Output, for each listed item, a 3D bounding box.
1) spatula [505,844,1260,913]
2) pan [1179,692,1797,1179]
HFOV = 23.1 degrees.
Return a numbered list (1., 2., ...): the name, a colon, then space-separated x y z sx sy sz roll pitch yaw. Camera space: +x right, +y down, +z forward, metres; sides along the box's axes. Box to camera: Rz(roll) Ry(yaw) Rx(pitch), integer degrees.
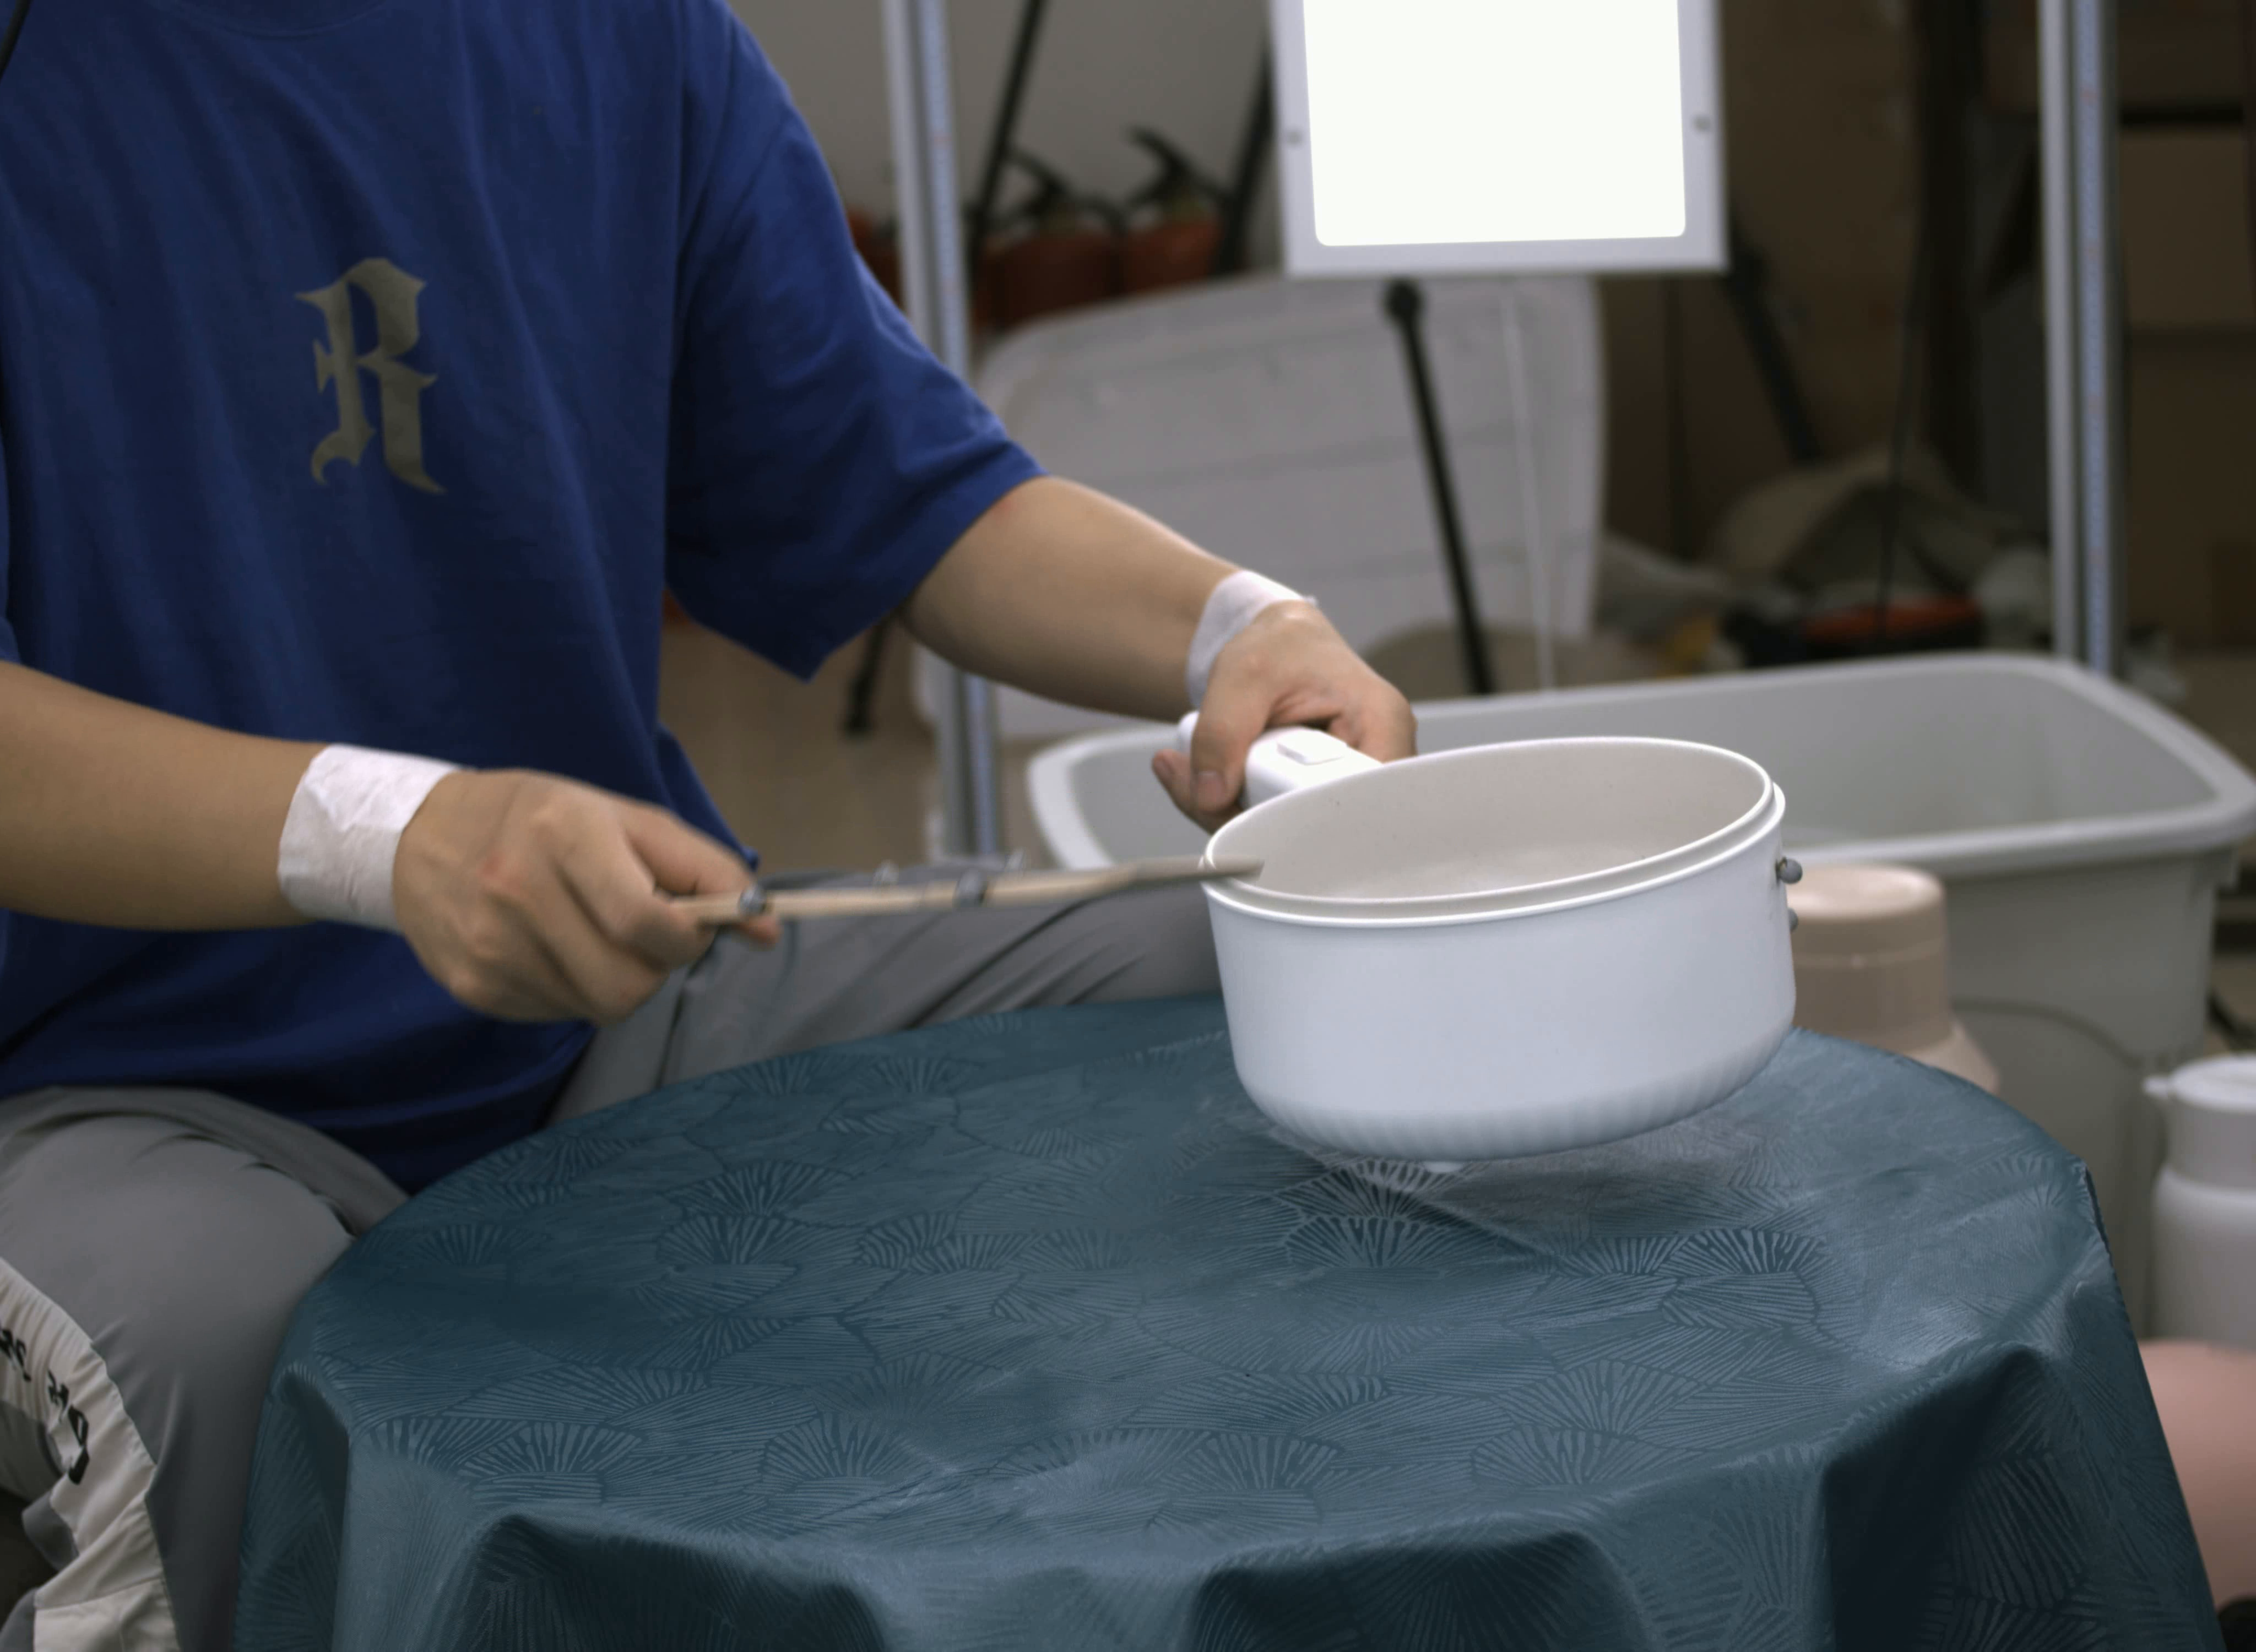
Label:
1. spatula: -0.092 0.019 1.782 0.299 0.011 0.070 -4 -2 39
2. pan: 0.102 0.030 1.946 0.198 0.102 0.359 -15 16 -17
